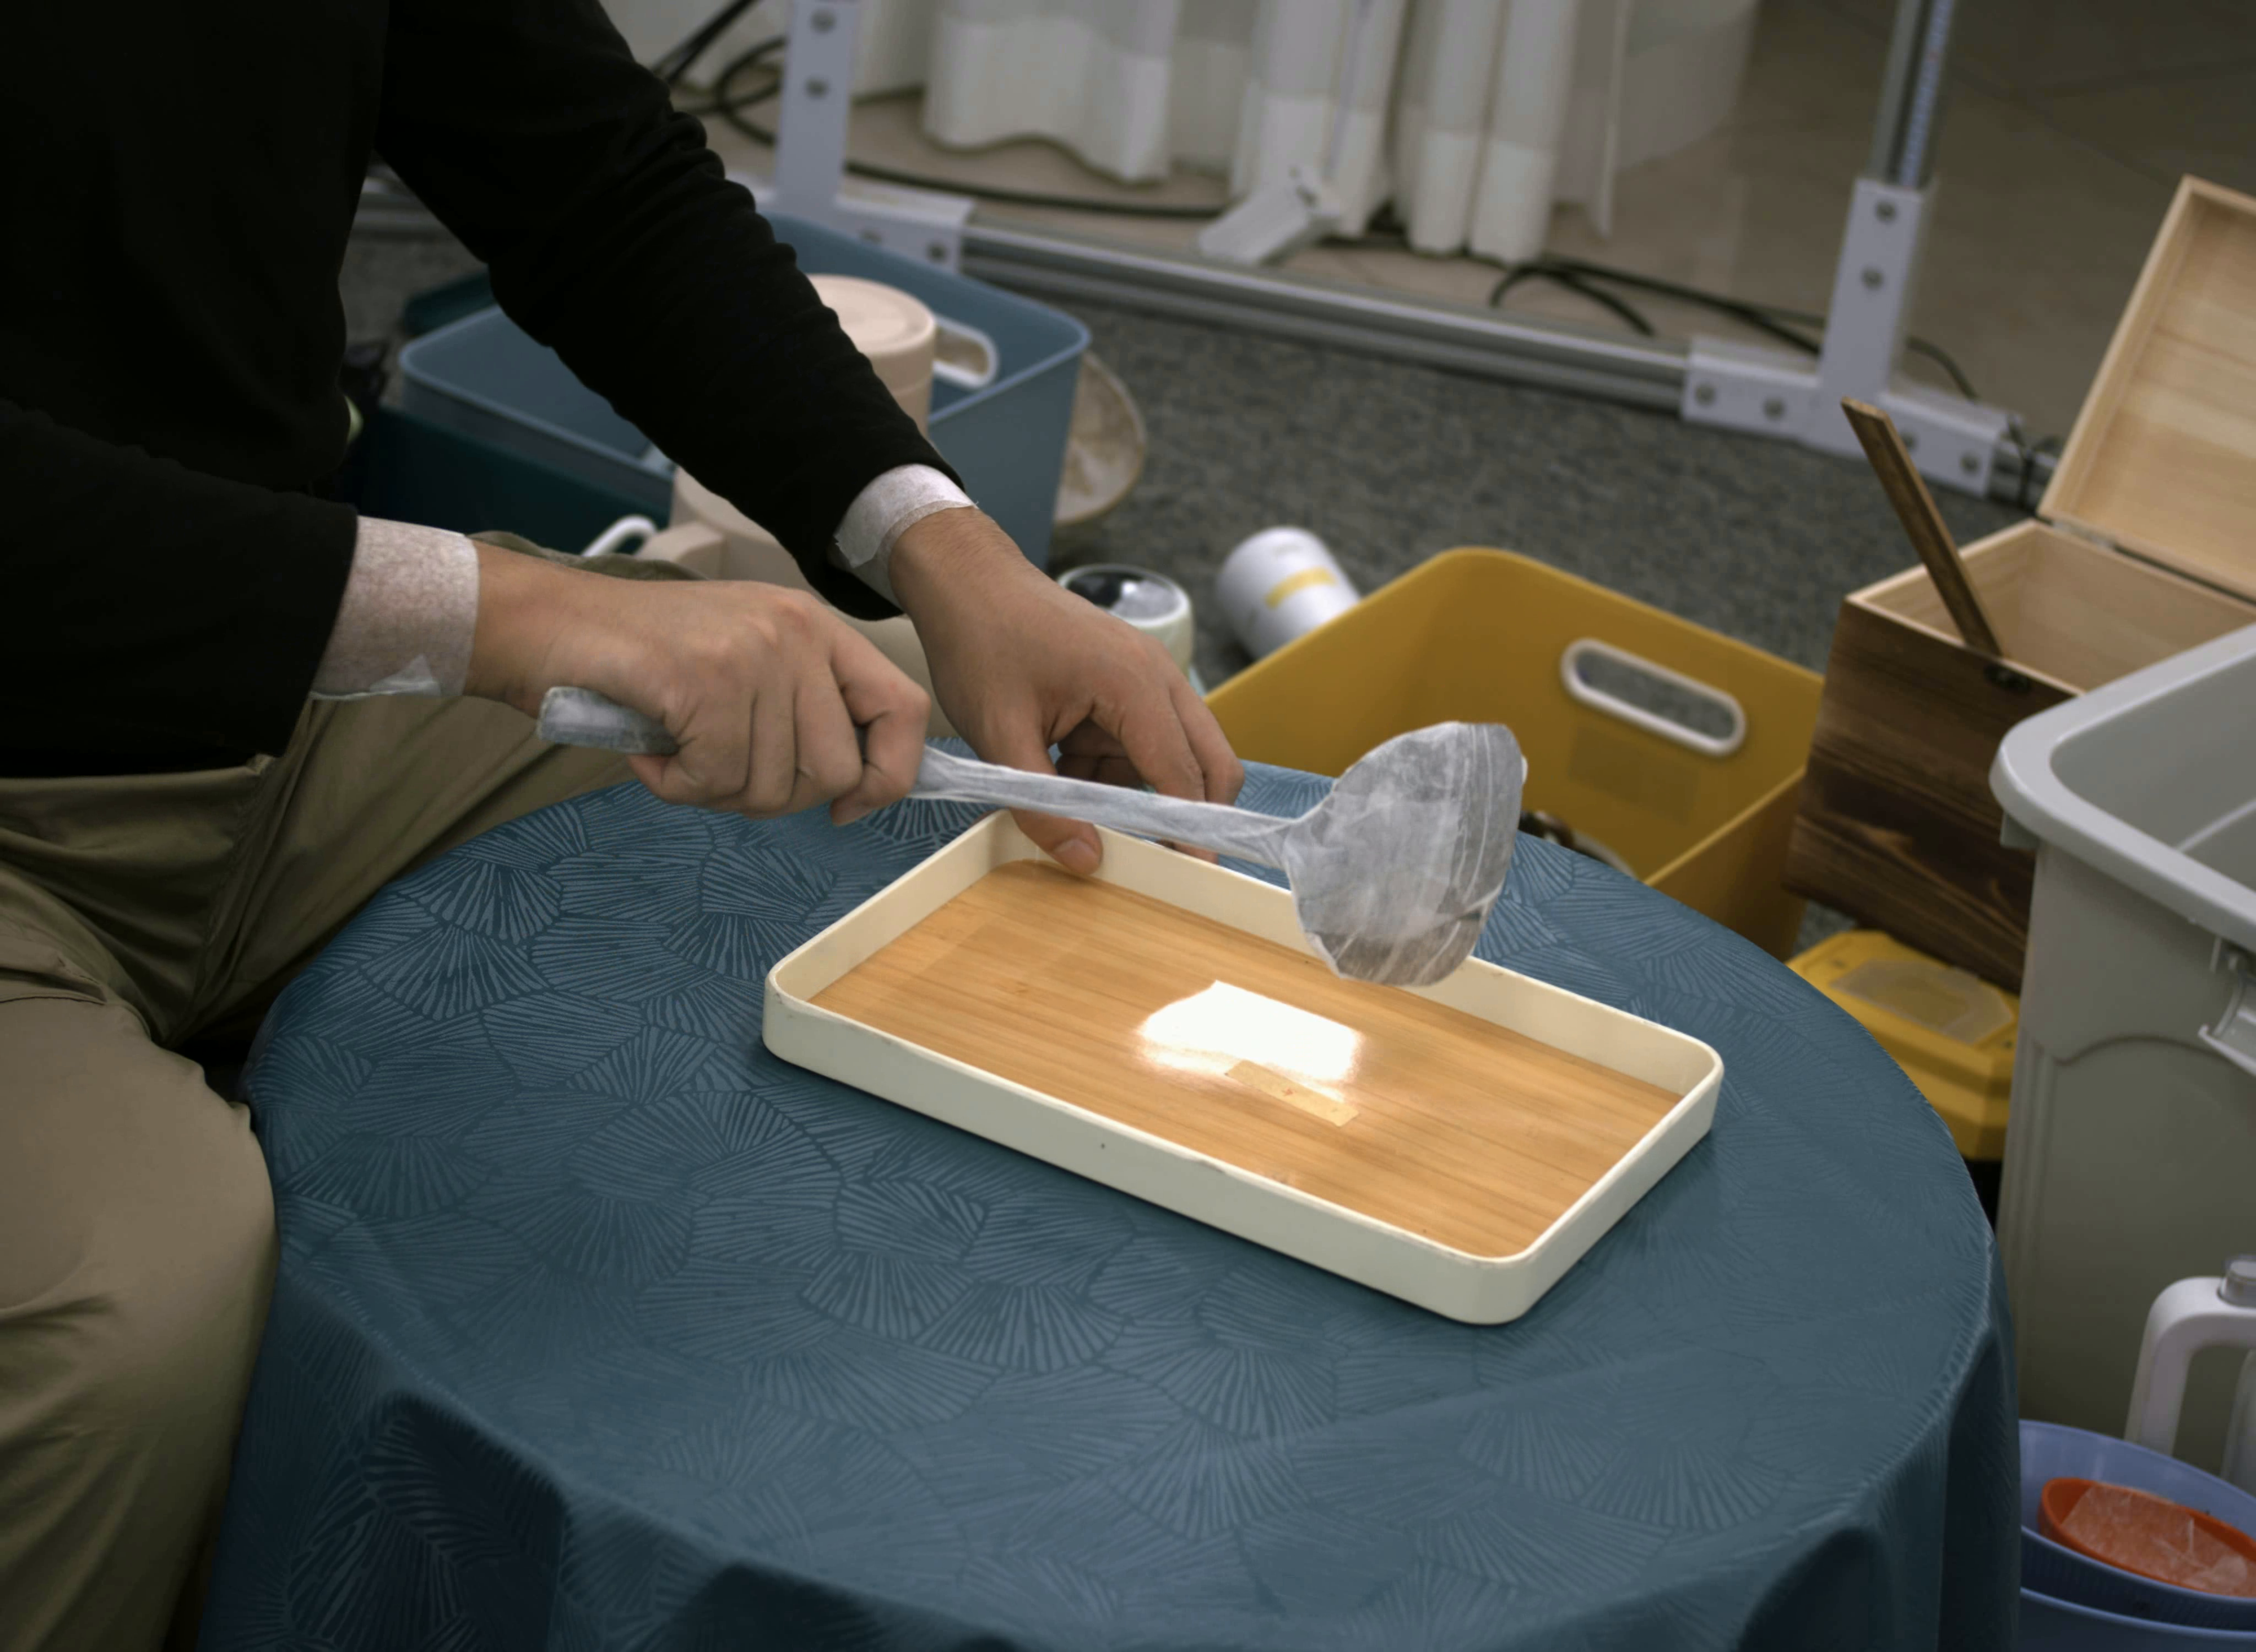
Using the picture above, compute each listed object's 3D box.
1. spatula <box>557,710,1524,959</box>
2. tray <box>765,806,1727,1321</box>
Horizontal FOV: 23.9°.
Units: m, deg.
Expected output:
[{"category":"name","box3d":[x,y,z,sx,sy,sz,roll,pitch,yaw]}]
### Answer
[{"category":"spatula","box3d":[-0.024,-0.011,1.777,0.362,0.098,0.045,11,33,-27]},{"category":"tray","box3d":[0.041,0.079,1.869,0.301,0.027,0.191,20,30,24]}]
